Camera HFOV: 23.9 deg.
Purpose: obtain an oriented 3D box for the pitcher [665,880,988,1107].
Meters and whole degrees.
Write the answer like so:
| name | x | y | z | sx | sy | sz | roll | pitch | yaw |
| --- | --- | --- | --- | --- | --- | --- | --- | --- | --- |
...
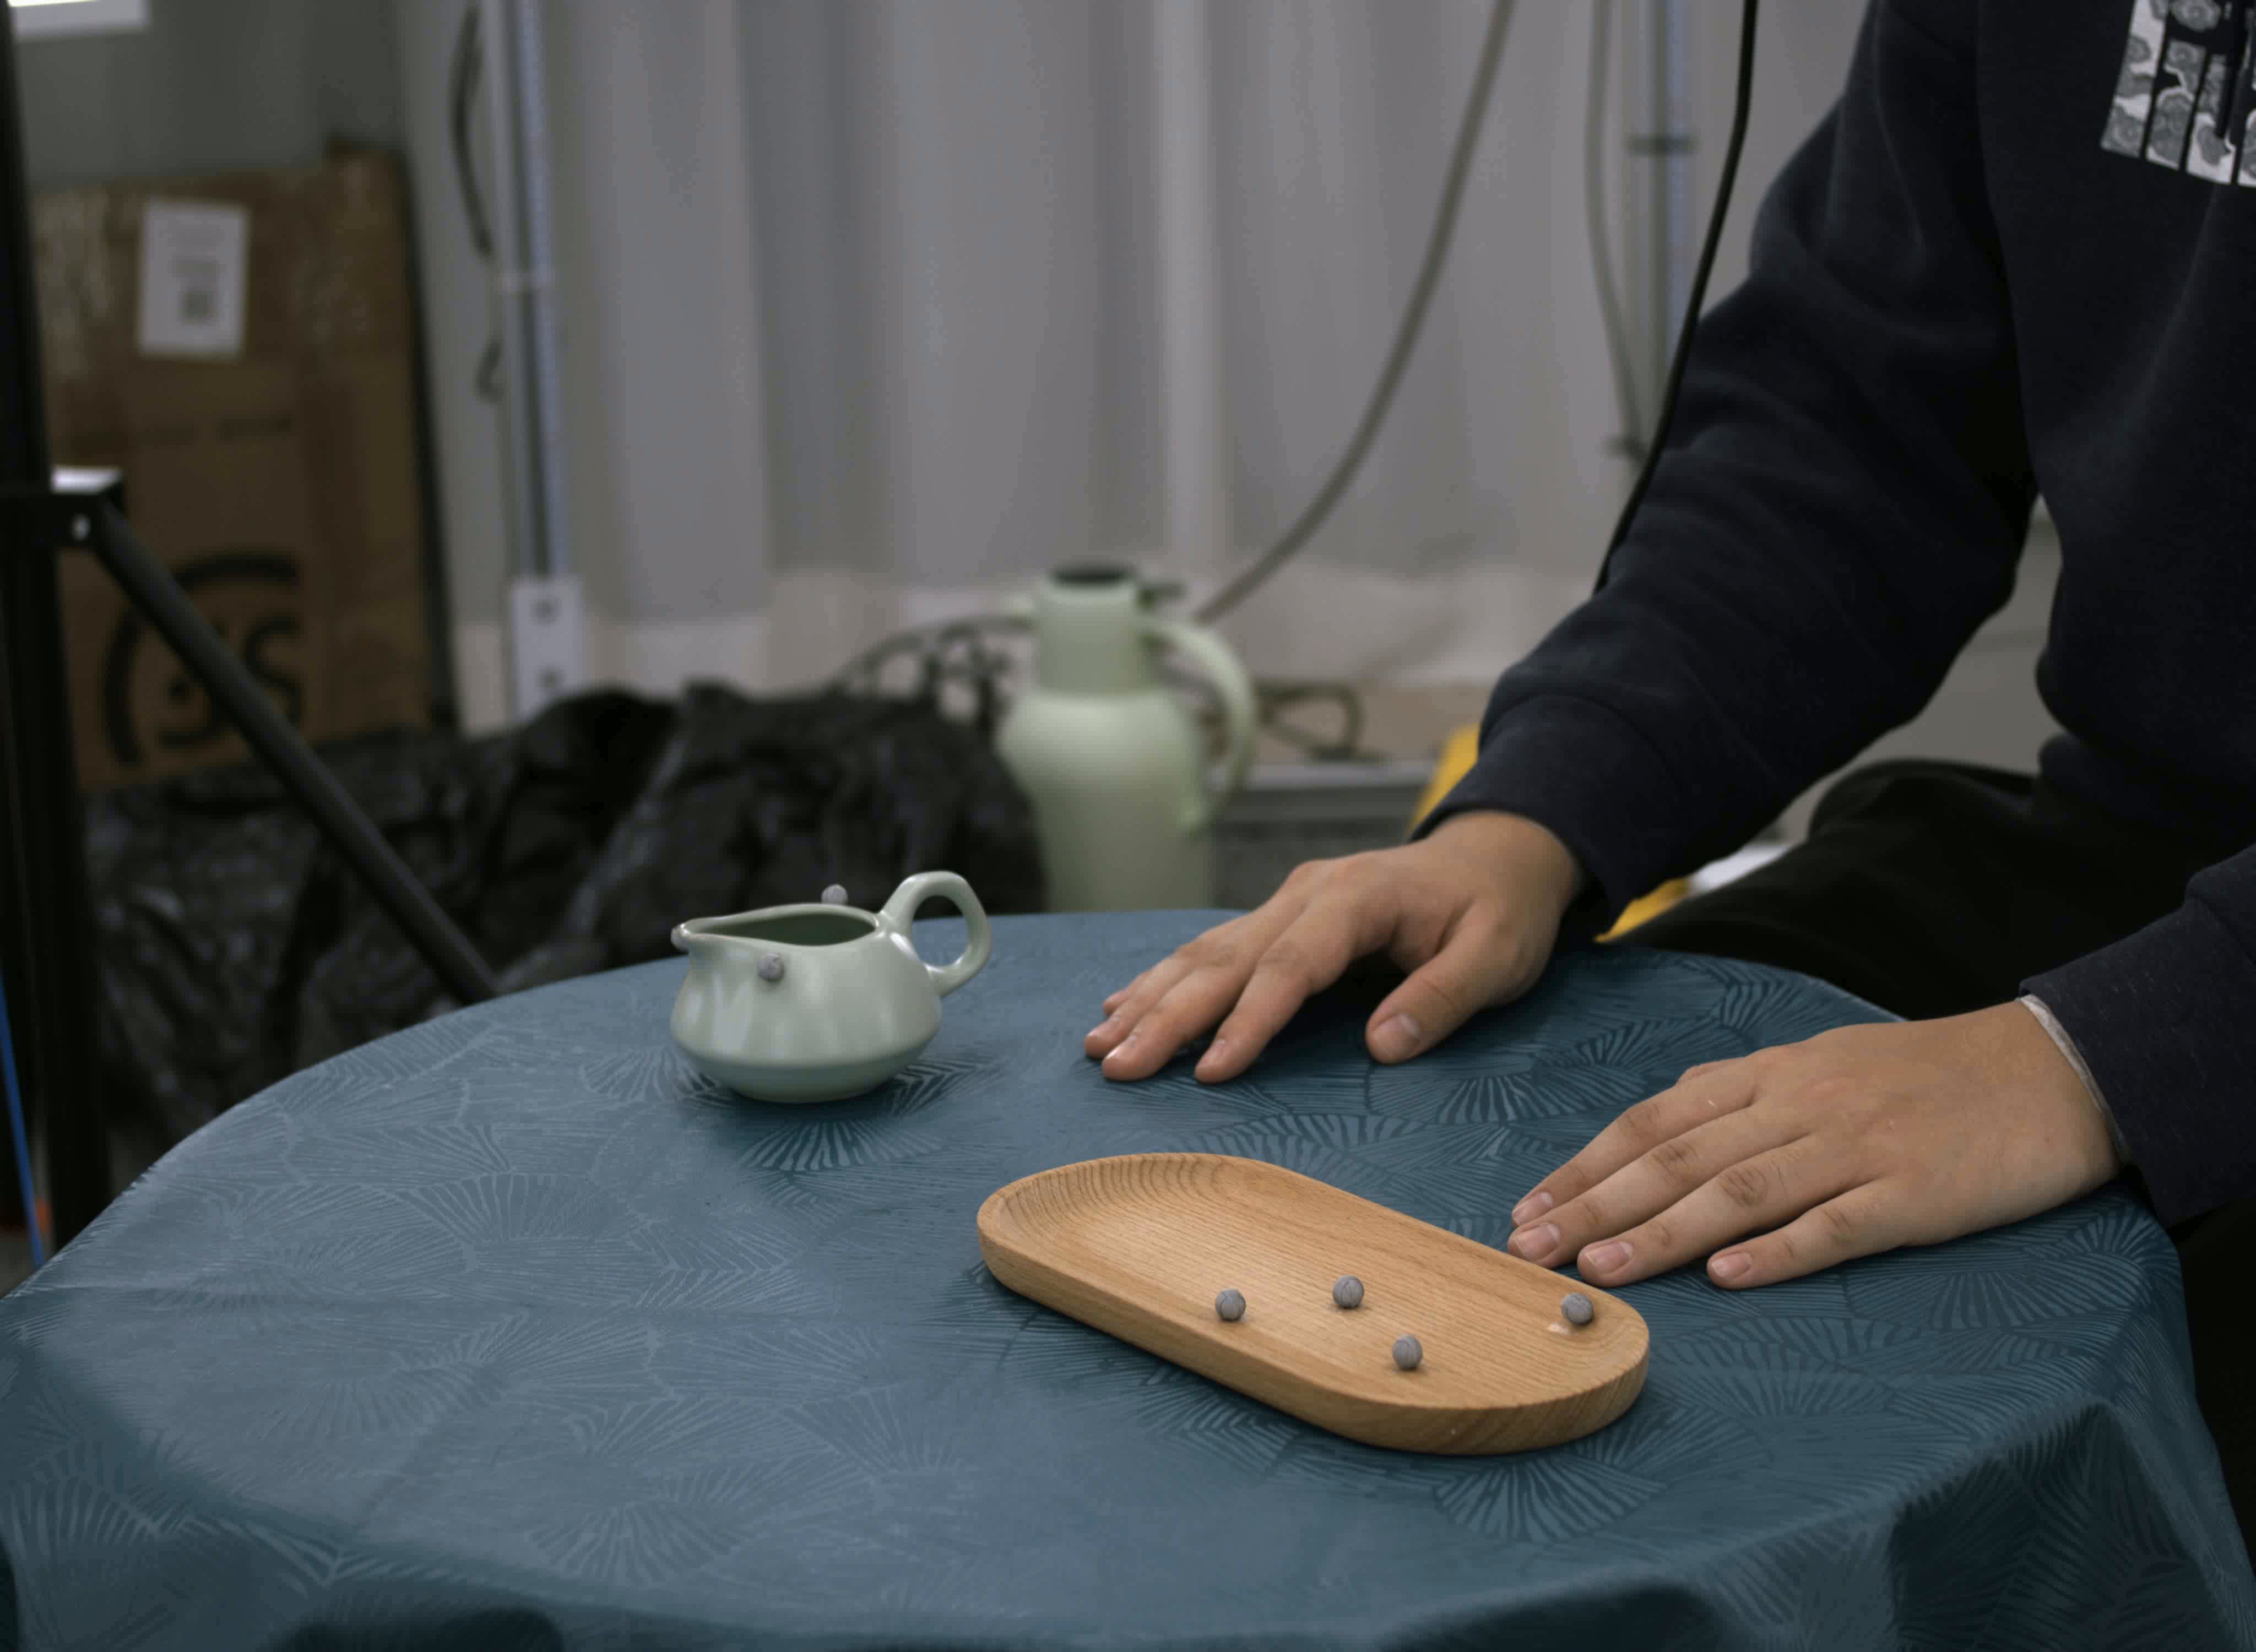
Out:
| name | x | y | z | sx | sy | sz | roll | pitch | yaw |
| --- | --- | --- | --- | --- | --- | --- | --- | --- | --- |
| pitcher | -0.092 | 0.051 | 1.669 | 0.105 | 0.060 | 0.088 | -9 | 18 | -30 |

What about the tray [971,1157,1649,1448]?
| name | x | y | z | sx | sy | sz | roll | pitch | yaw |
| --- | --- | --- | --- | --- | --- | --- | --- | --- | --- |
| tray | 0.047 | 0.128 | 1.449 | 0.099 | 0.020 | 0.236 | -12 | 16 | -35 |
